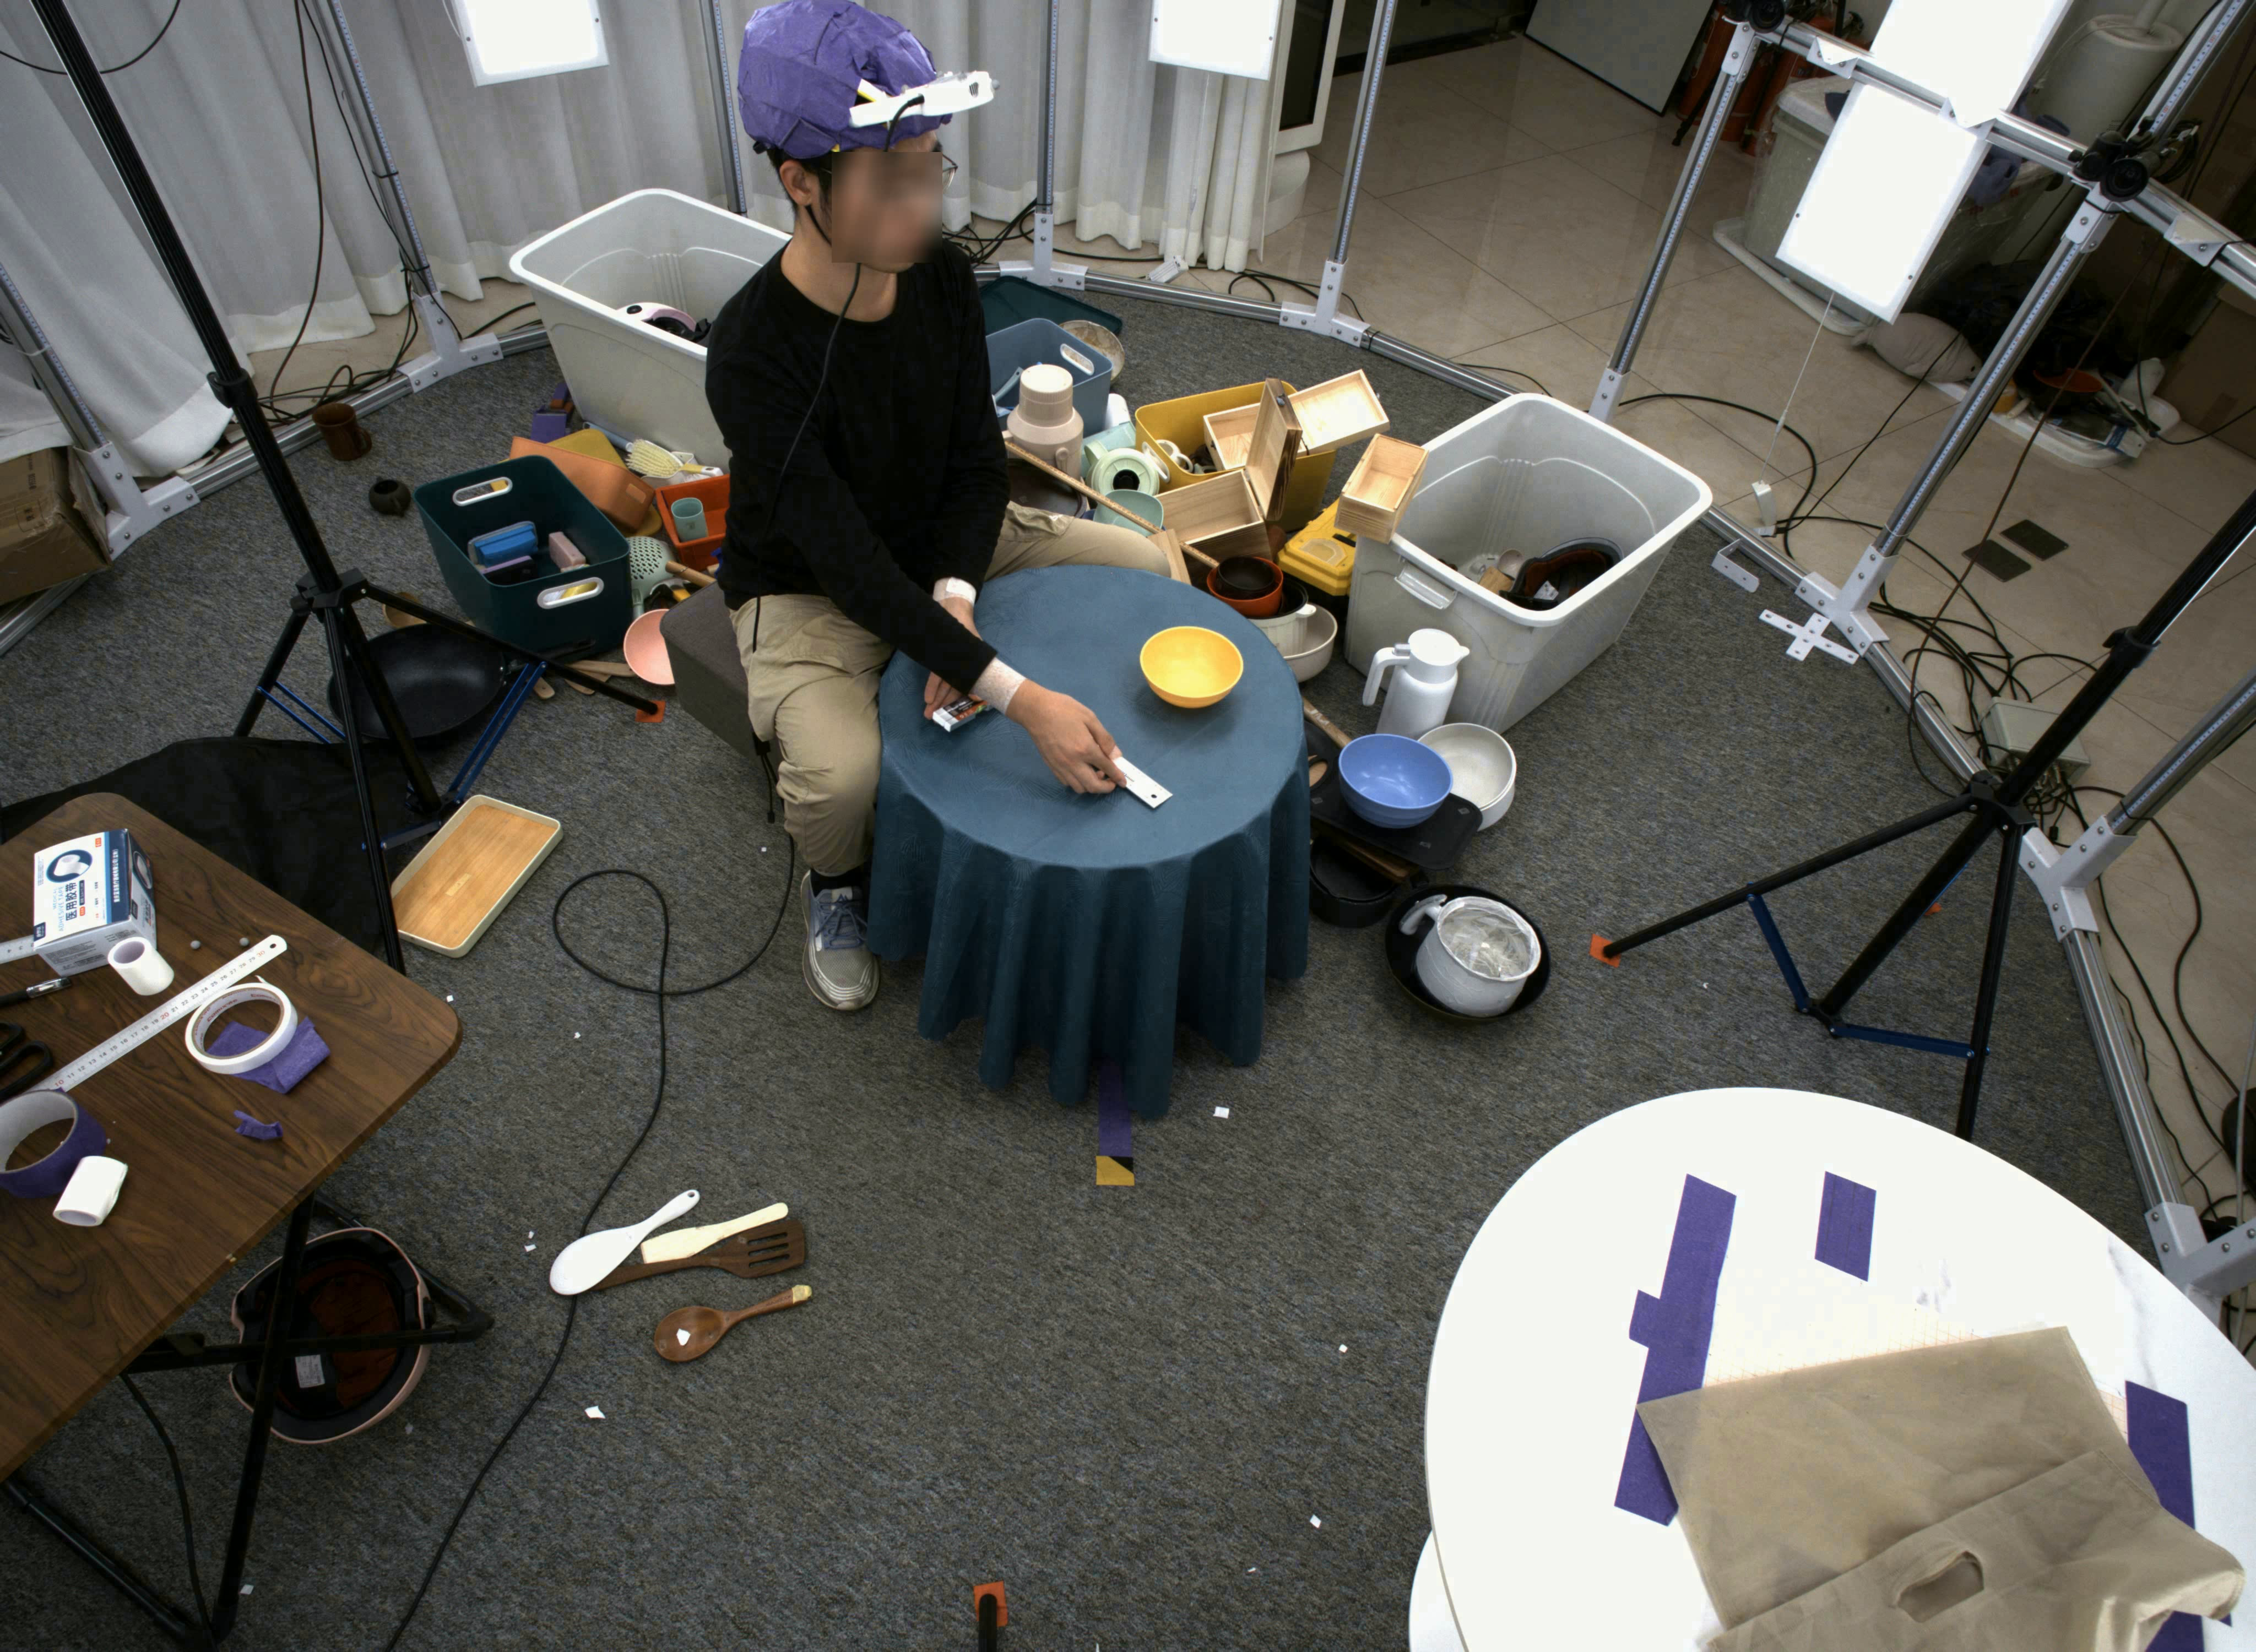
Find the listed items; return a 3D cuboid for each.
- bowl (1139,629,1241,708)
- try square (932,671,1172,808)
[{"bbox_3d":[0.085,-0.212,1.824,0.145,0.058,0.149,2,46,-3],"label":"bowl"},{"bbox_3d":[-0.104,-0.098,1.729,0.317,0.015,0.154,38,51,23],"label":"try square"}]
